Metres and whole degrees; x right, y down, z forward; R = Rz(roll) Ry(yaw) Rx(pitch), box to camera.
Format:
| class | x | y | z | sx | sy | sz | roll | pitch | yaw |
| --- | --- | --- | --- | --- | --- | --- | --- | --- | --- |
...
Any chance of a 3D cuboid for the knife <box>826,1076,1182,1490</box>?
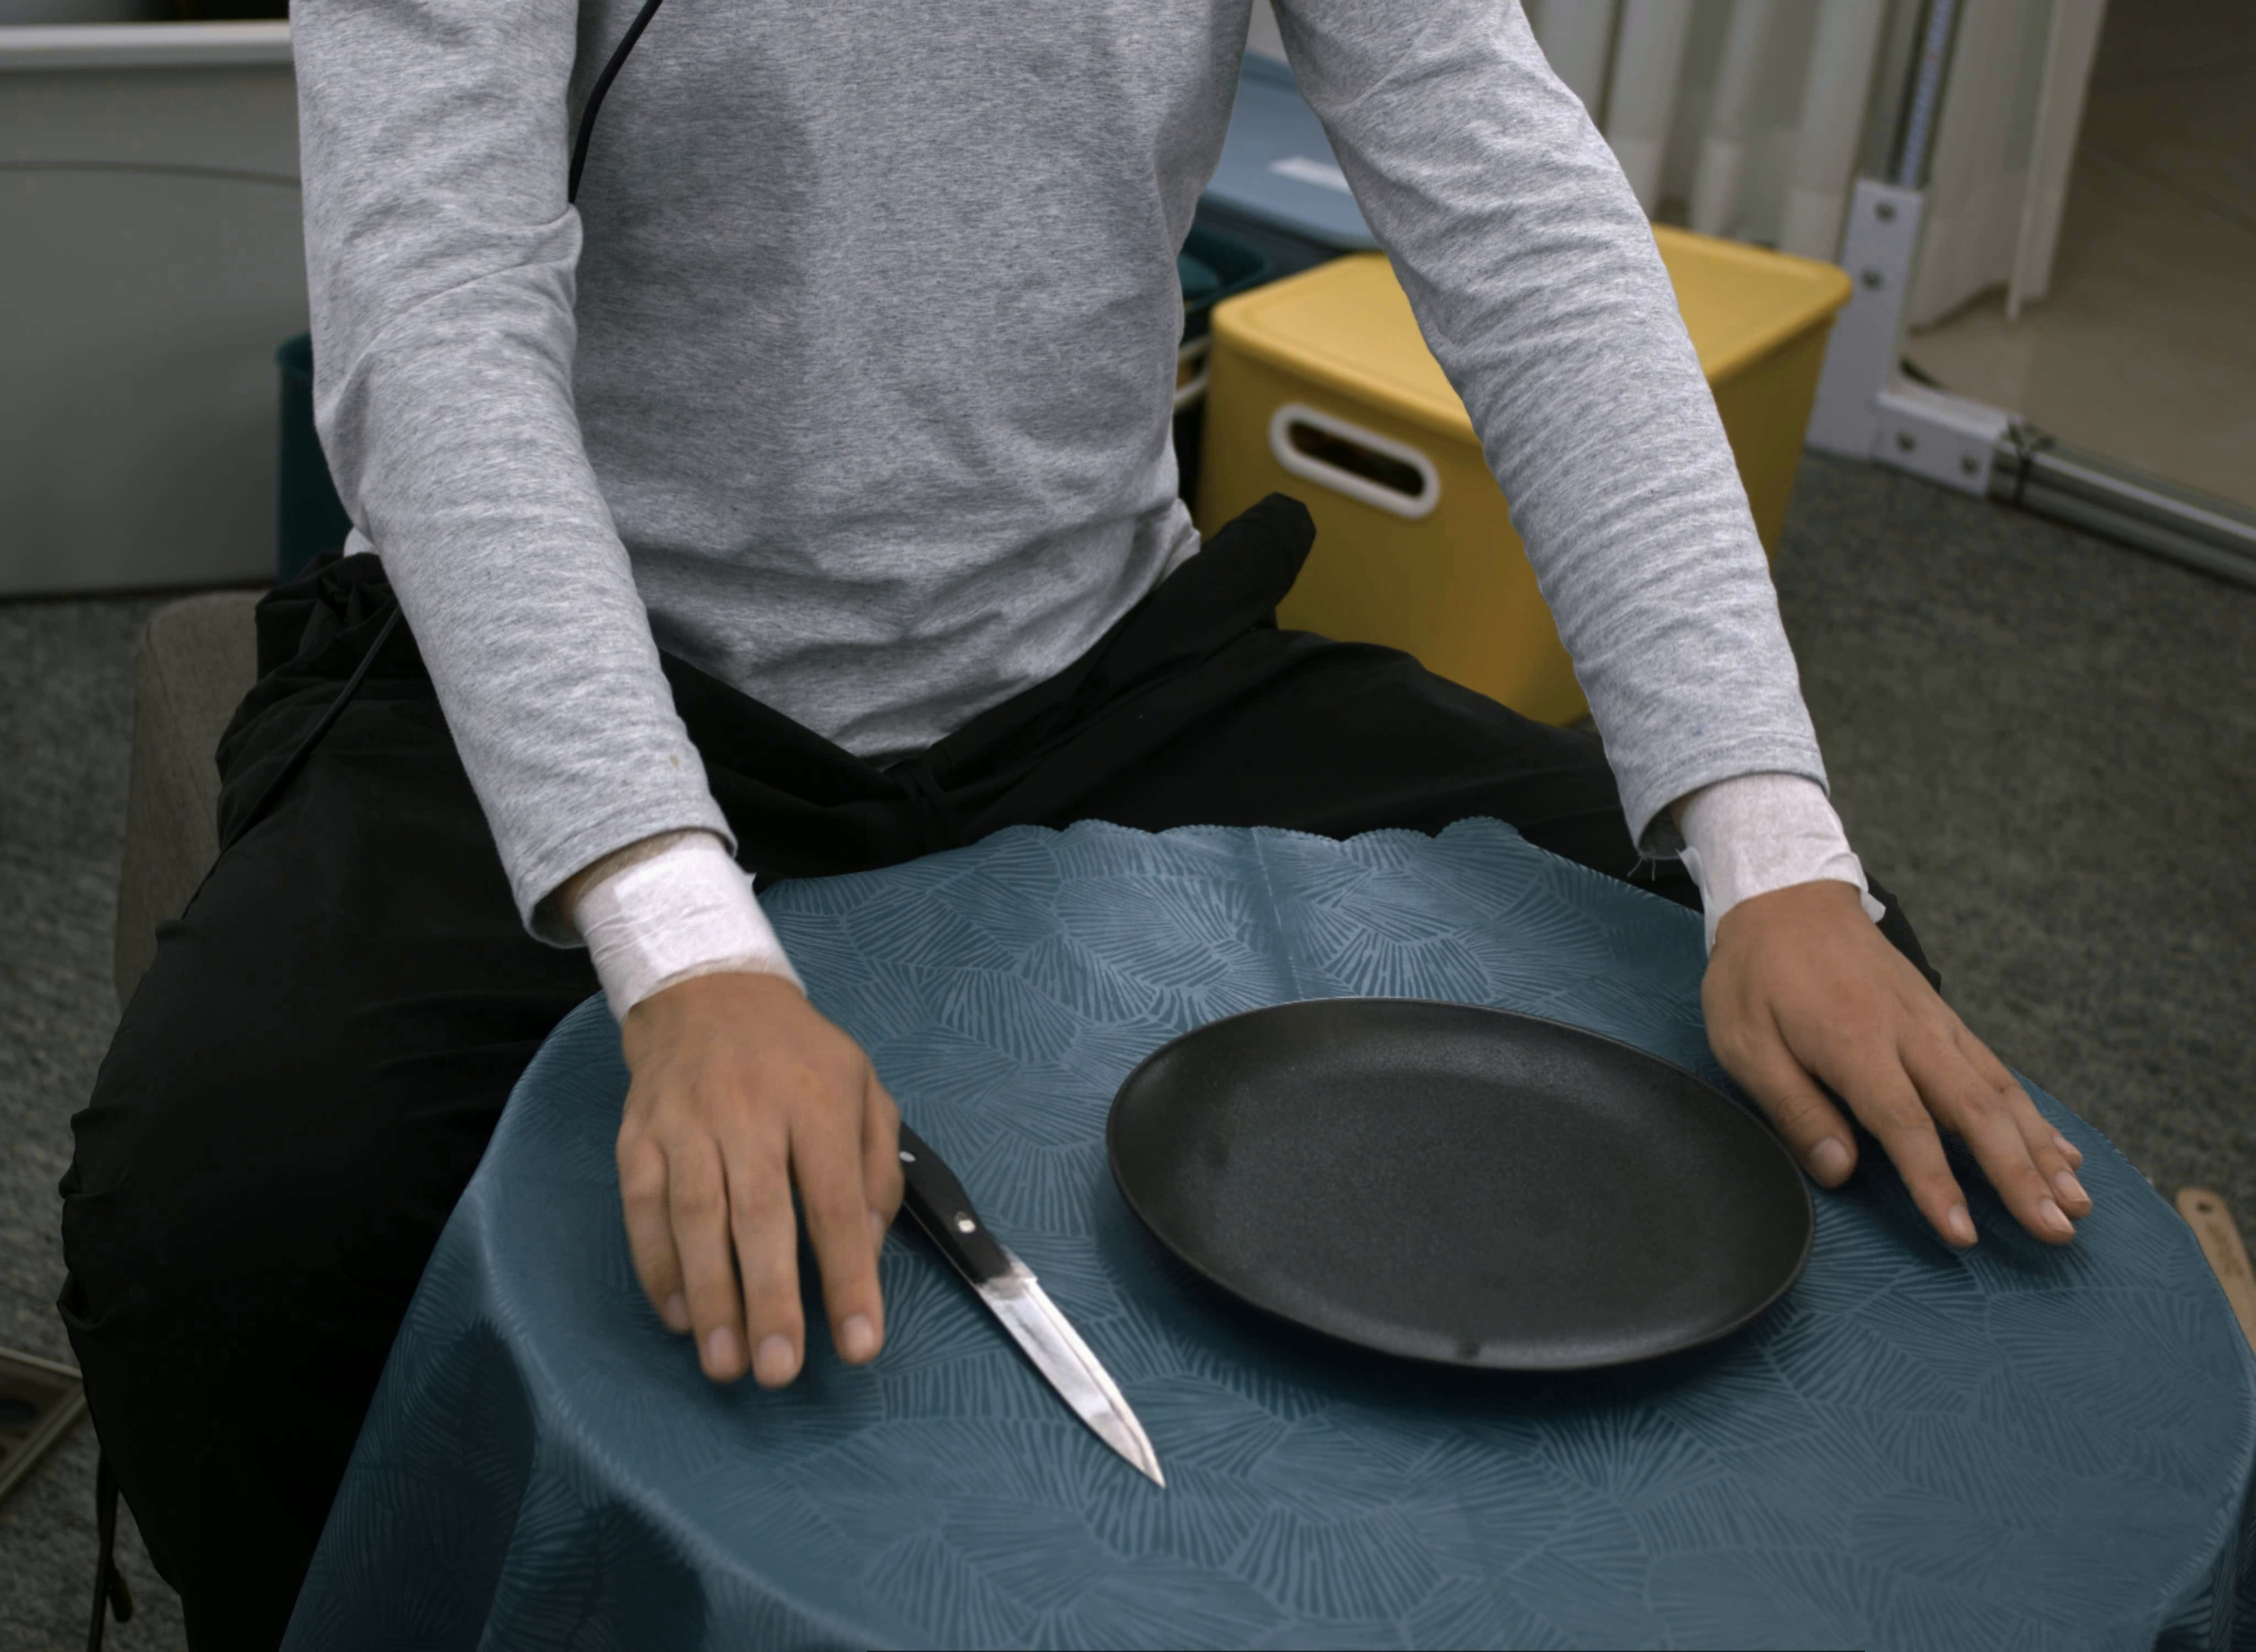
| class | x | y | z | sx | sy | sz | roll | pitch | yaw |
| --- | --- | --- | --- | --- | --- | --- | --- | --- | --- |
| knife | -0.043 | 0.148 | 1.735 | 0.024 | 0.016 | 0.240 | -8 | 33 | -28 |

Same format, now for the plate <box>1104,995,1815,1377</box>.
| class | x | y | z | sx | sy | sz | roll | pitch | yaw |
| --- | --- | --- | --- | --- | --- | --- | --- | --- | --- |
| plate | 0.111 | 0.125 | 1.802 | 0.243 | 0.023 | 0.246 | 5 | 27 | -3 |
